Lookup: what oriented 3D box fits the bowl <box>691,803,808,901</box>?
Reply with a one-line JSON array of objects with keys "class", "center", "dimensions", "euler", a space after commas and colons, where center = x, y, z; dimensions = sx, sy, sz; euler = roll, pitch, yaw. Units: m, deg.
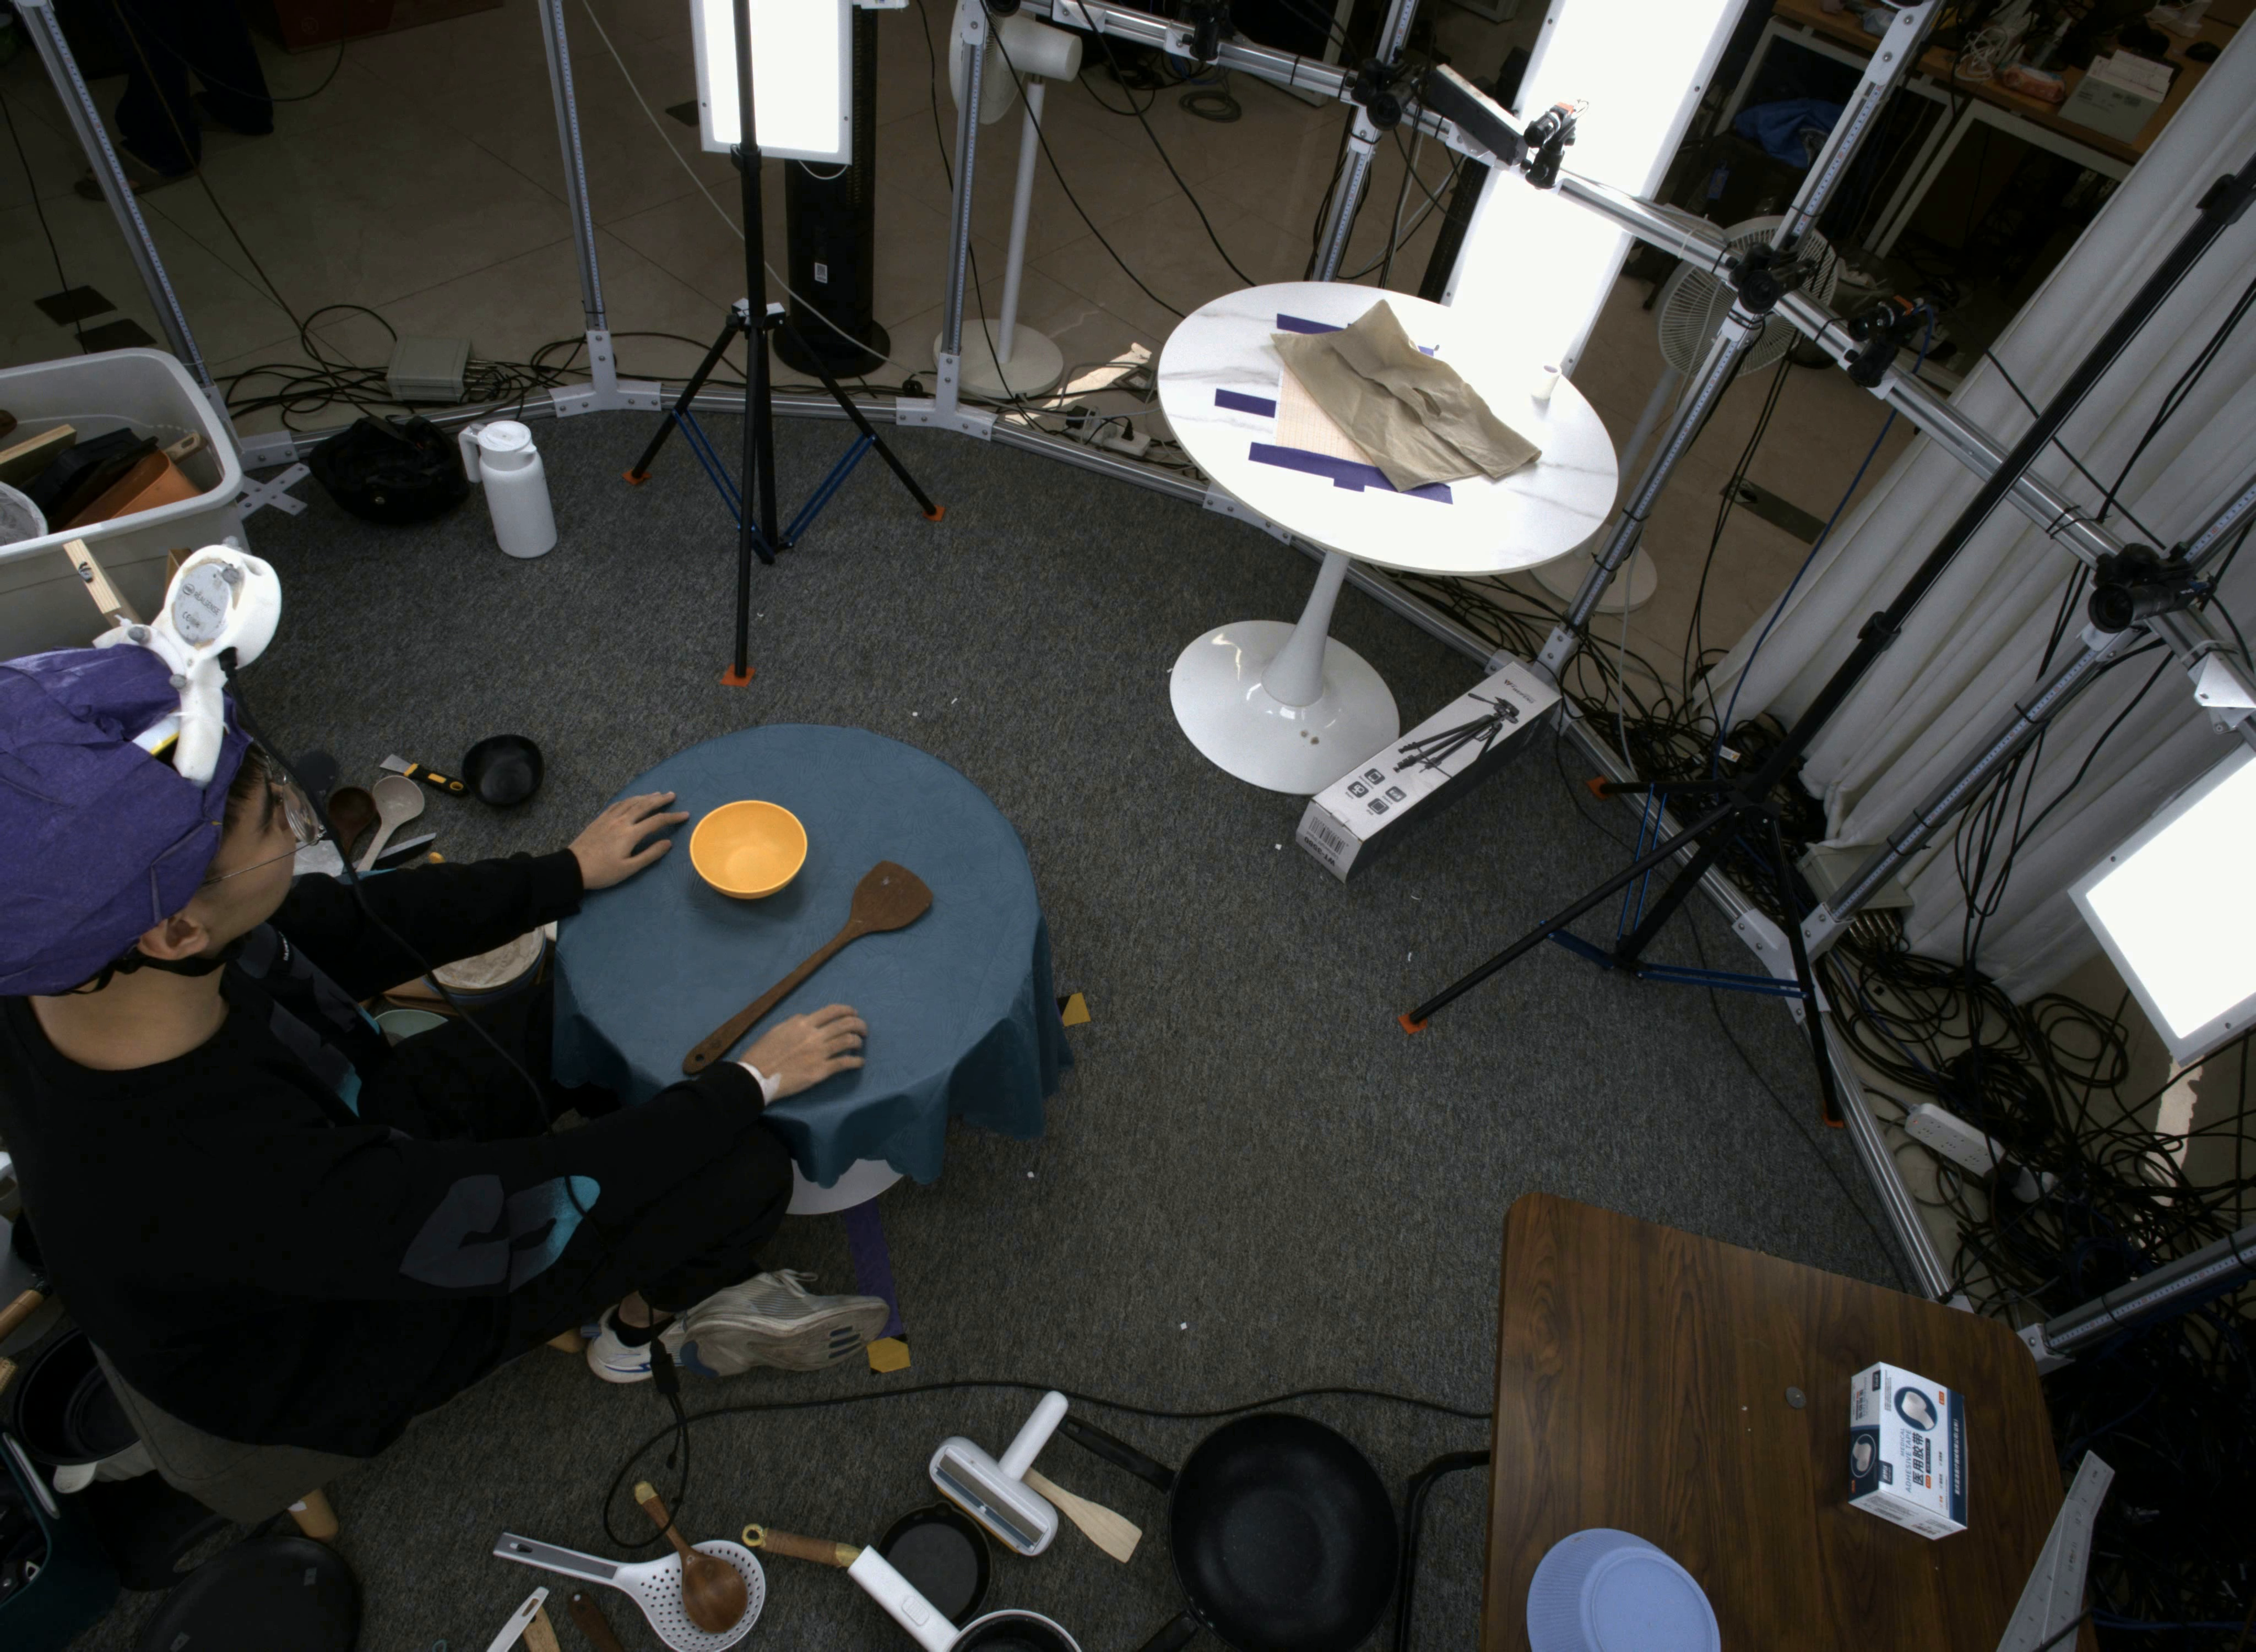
[{"class": "bowl", "center": [-0.479, 0.043, 1.648], "dimensions": [0.144, 0.061, 0.142], "euler": [6, 52, -6]}]

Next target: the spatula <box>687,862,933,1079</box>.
[{"class": "spatula", "center": [-0.394, 0.174, 1.598], "dimensions": [0.094, 0.016, 0.386], "euler": [36, 54, 14]}]
